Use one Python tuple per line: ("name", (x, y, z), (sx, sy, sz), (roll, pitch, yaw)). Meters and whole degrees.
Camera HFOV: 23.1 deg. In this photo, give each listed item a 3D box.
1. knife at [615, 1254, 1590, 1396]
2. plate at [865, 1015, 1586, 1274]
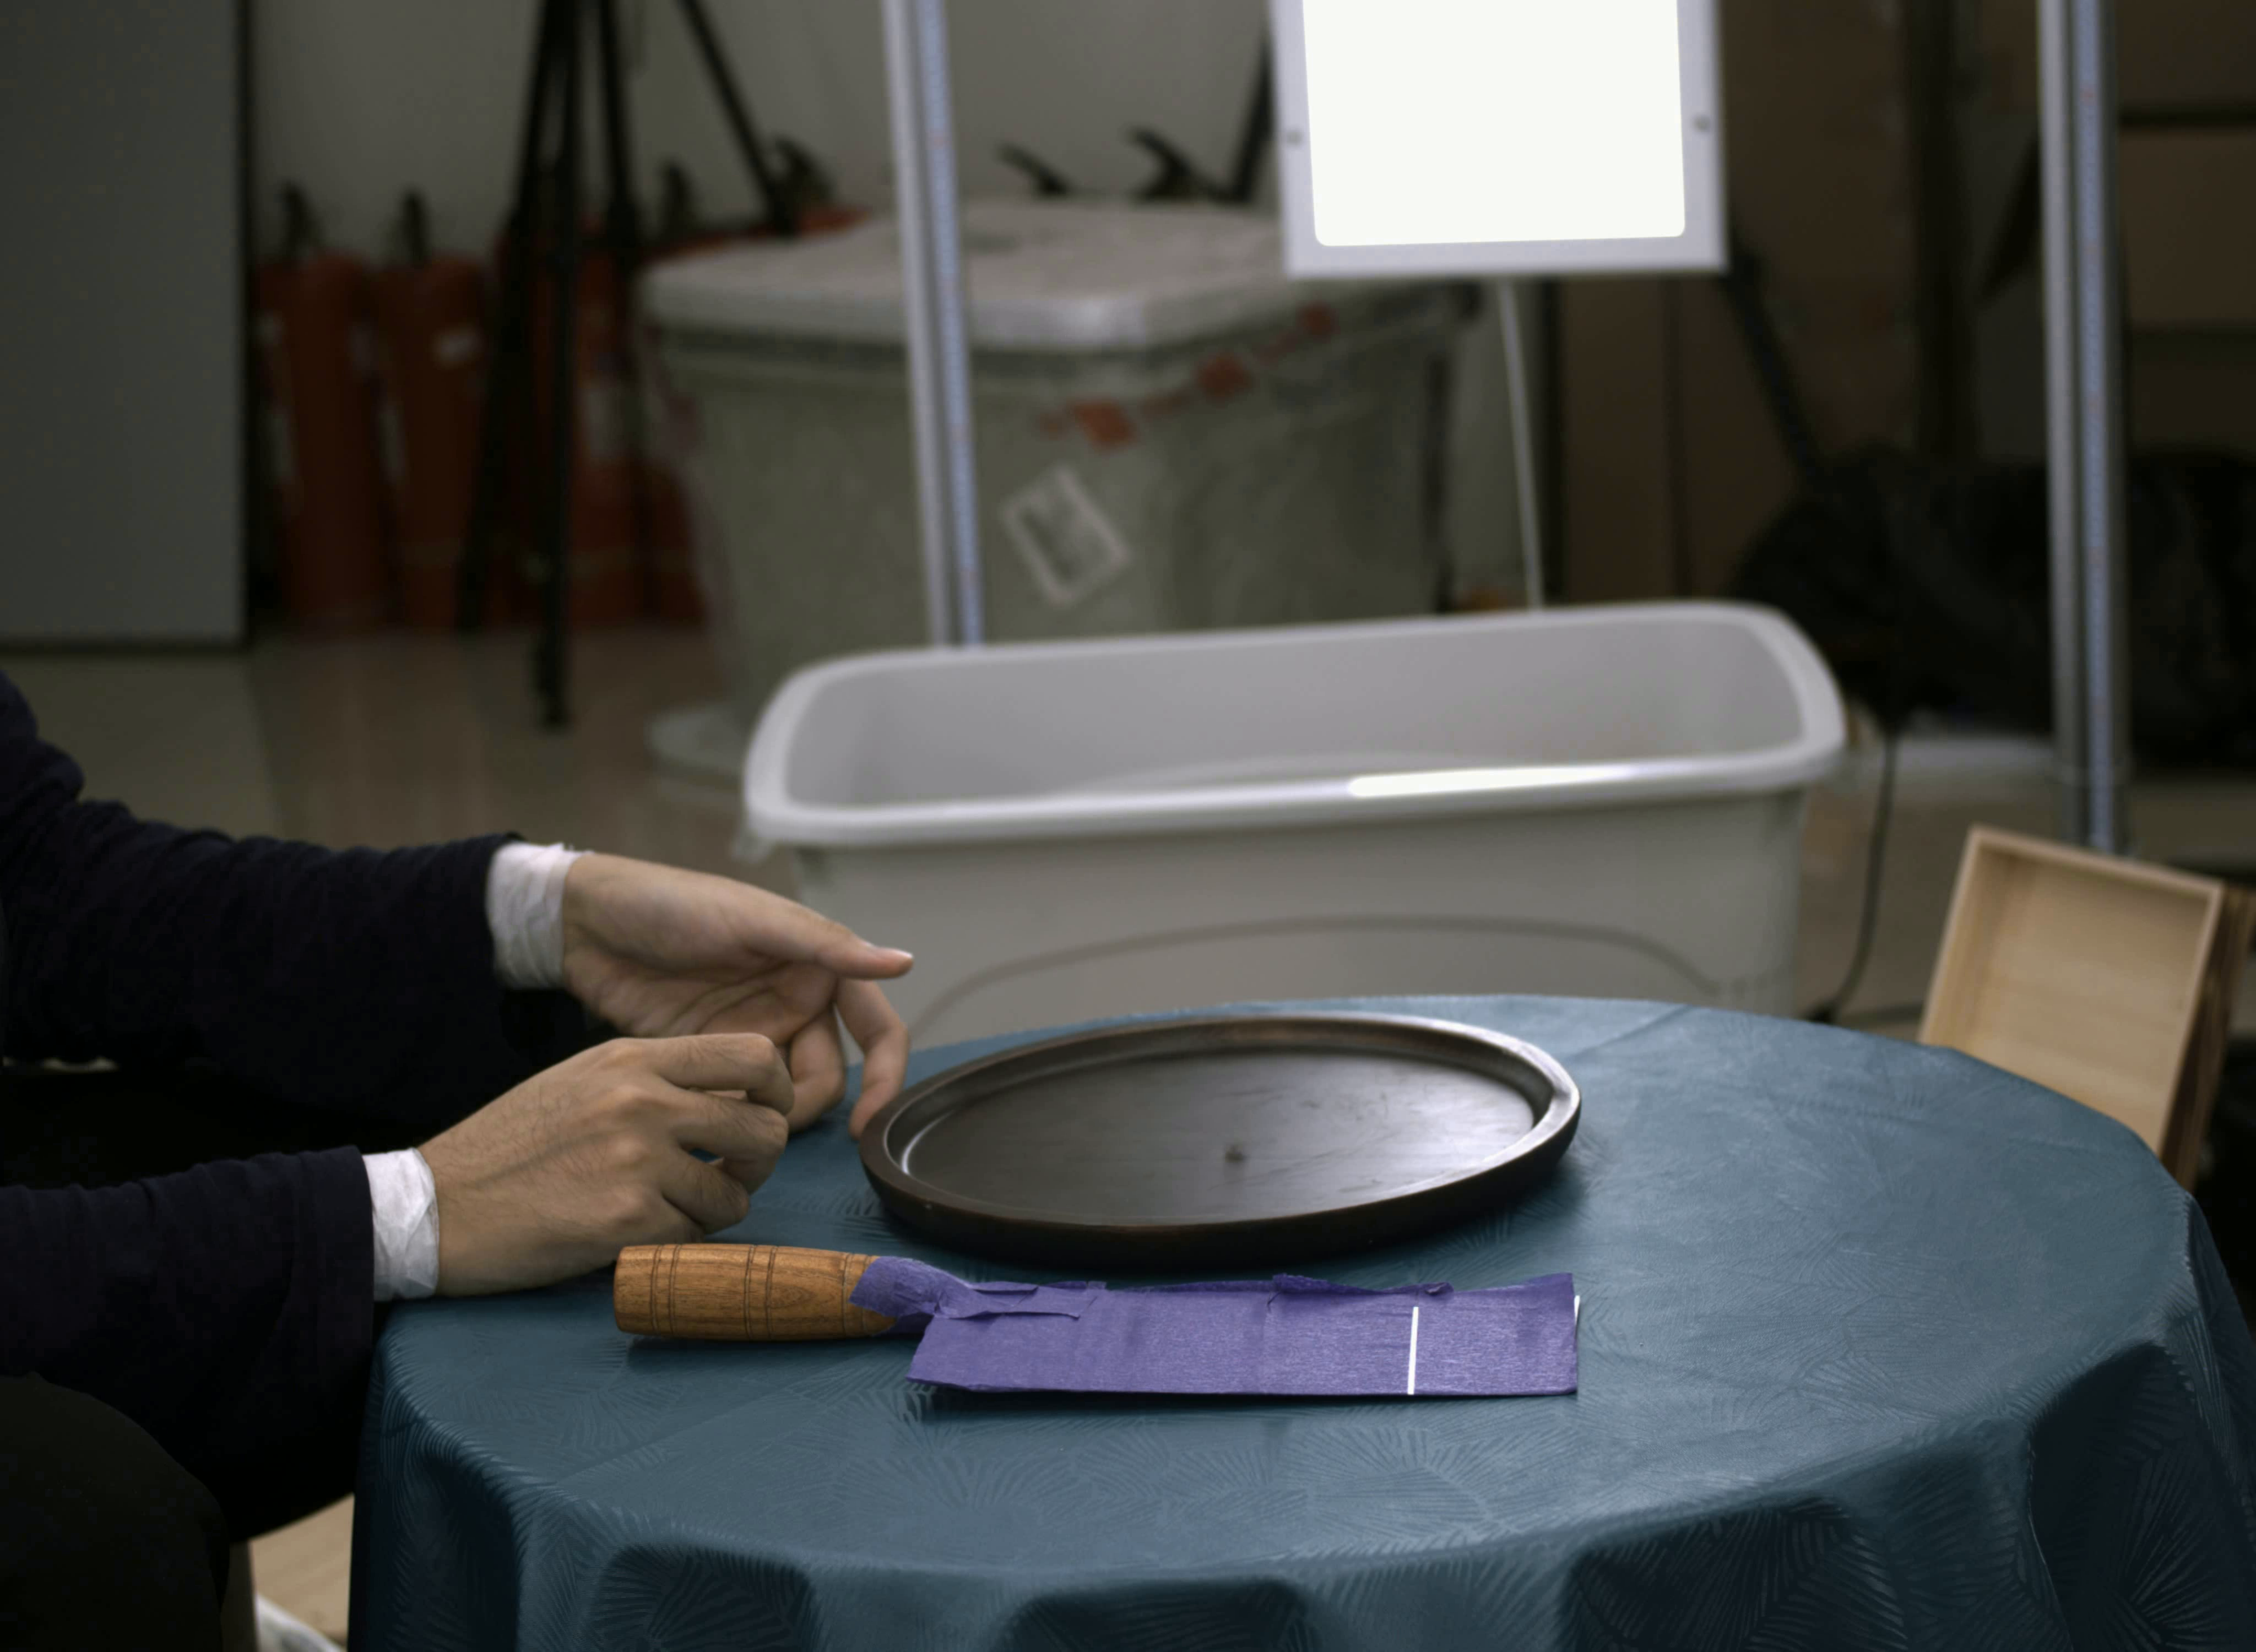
("knife", (-0.012, 0.156, 1.731), (0.317, 0.032, 0.103), (-3, 14, 9))
("plate", (0.034, 0.109, 1.915), (0.254, 0.029, 0.254), (-4, 13, 0))
